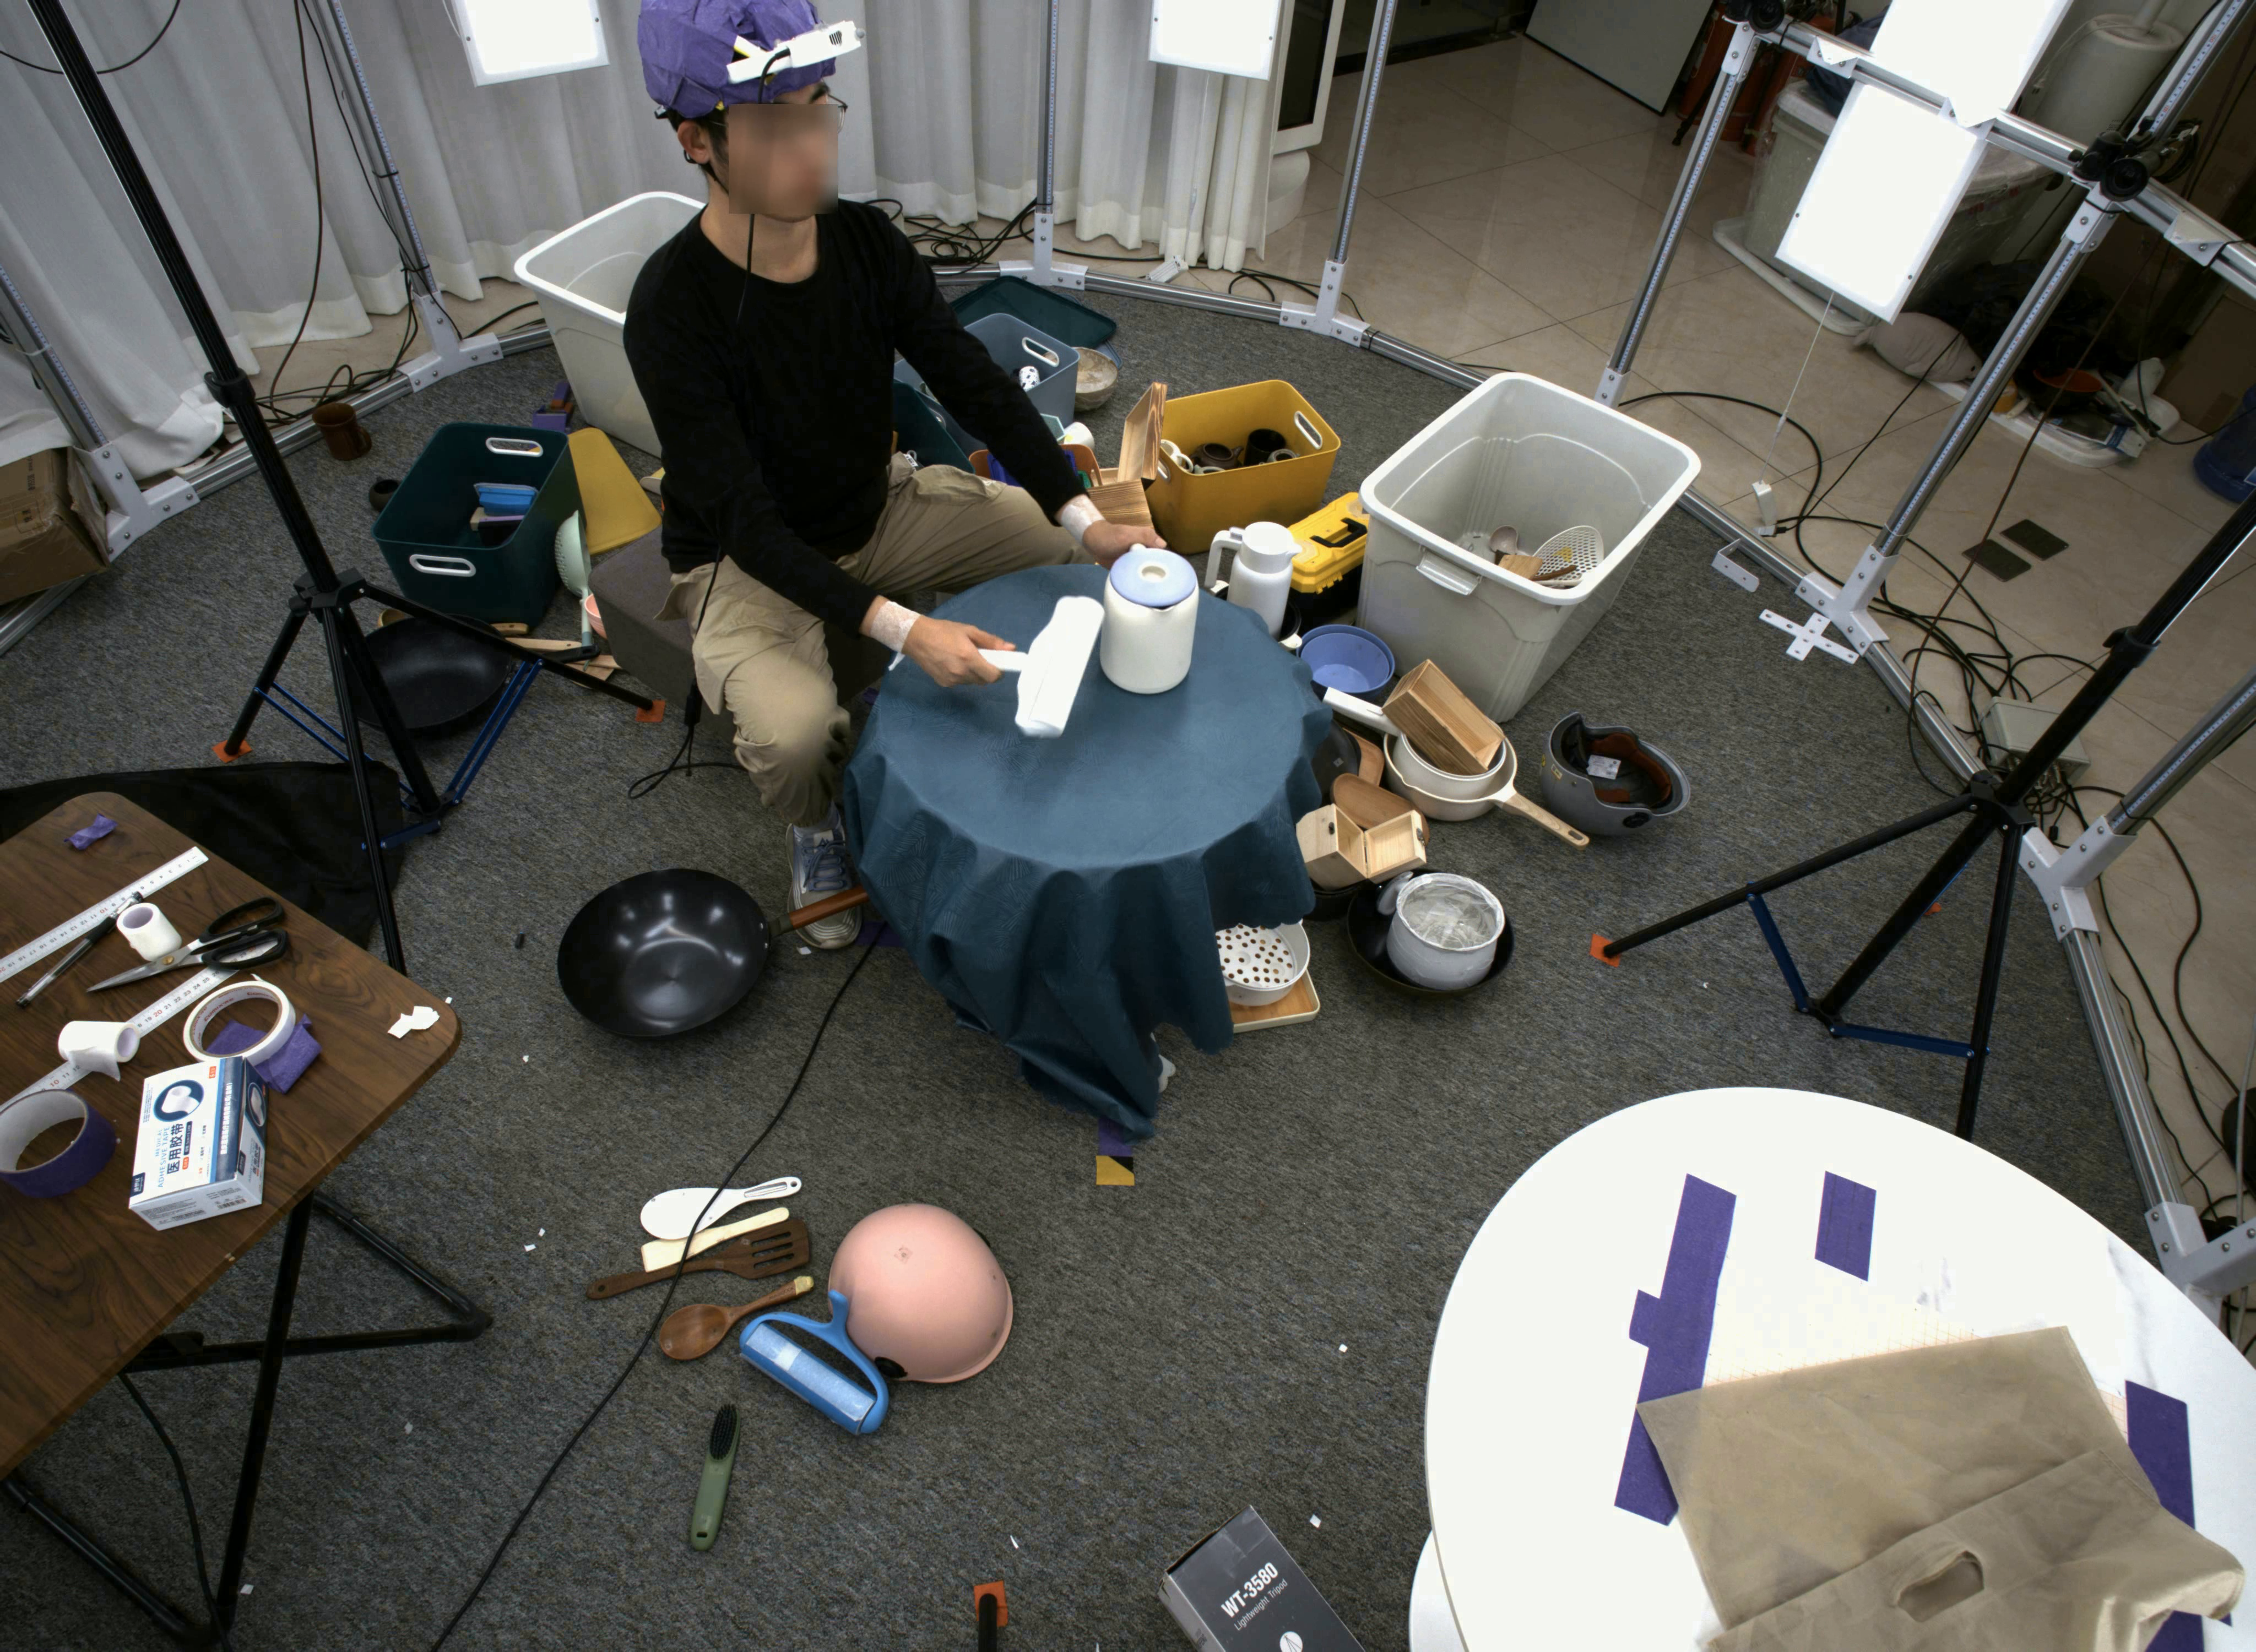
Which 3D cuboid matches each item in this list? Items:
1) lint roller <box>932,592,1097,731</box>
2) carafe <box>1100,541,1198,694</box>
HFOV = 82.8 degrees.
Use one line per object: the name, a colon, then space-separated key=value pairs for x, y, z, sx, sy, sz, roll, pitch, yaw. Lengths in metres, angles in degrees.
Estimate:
lint roller: x=-0.166 y=-0.229 z=1.742 sx=0.226 sy=0.047 sz=0.206 roll=6 pitch=65 yaw=19
carafe: x=0.024 y=-0.307 z=1.827 sx=0.132 sy=0.178 sz=0.196 roll=-6 pitch=48 yaw=-10
